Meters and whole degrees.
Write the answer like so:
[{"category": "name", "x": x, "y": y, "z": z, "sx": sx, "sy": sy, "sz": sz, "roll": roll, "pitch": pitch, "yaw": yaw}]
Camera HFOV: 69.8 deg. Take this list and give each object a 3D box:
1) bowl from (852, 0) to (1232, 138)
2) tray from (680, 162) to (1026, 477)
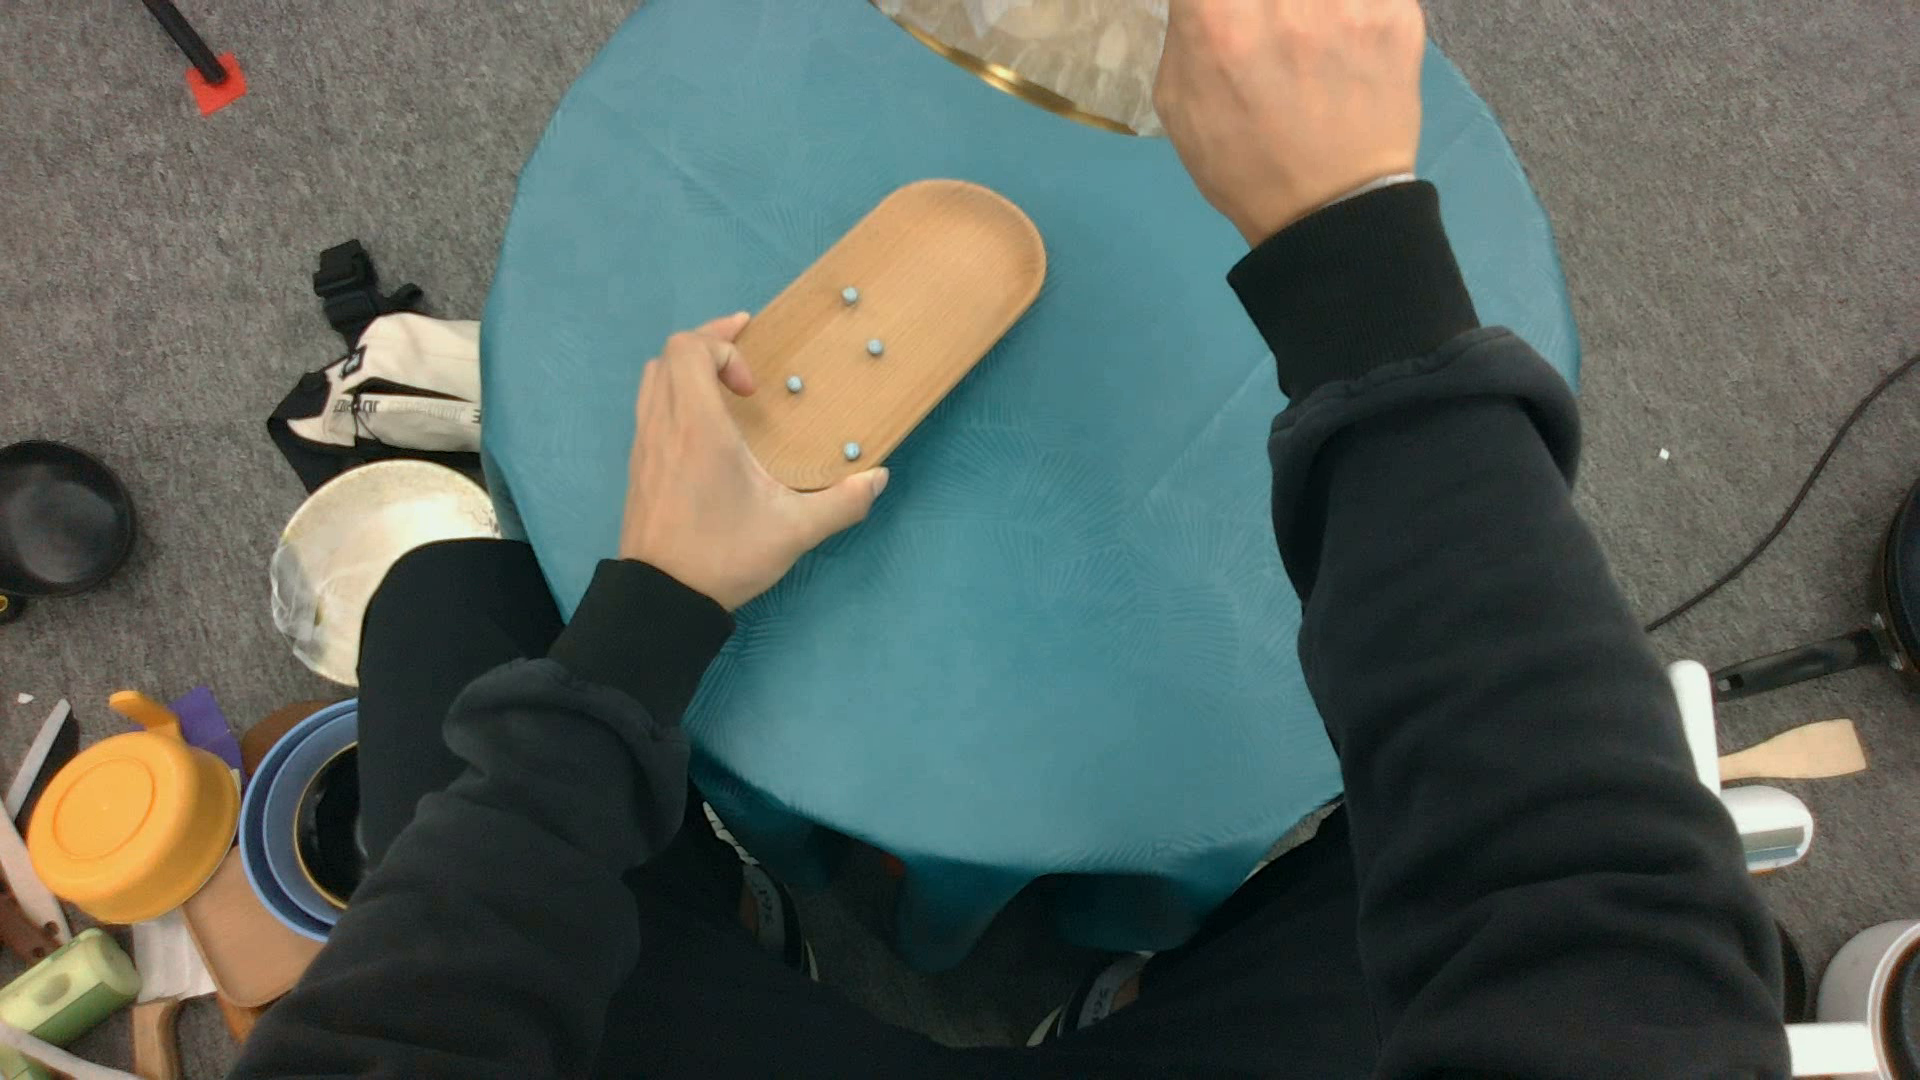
[{"category": "bowl", "x": 0.025, "y": -0.253, "z": 0.539, "sx": 0.214, "sy": 0.214, "sz": 0.094, "roll": 27, "pitch": 88, "yaw": 5}, {"category": "tray", "x": -0.052, "y": -0.120, "z": 0.721, "sx": 0.101, "sy": 0.020, "sz": 0.232, "roll": 36, "pitch": 59, "yaw": 7}]
